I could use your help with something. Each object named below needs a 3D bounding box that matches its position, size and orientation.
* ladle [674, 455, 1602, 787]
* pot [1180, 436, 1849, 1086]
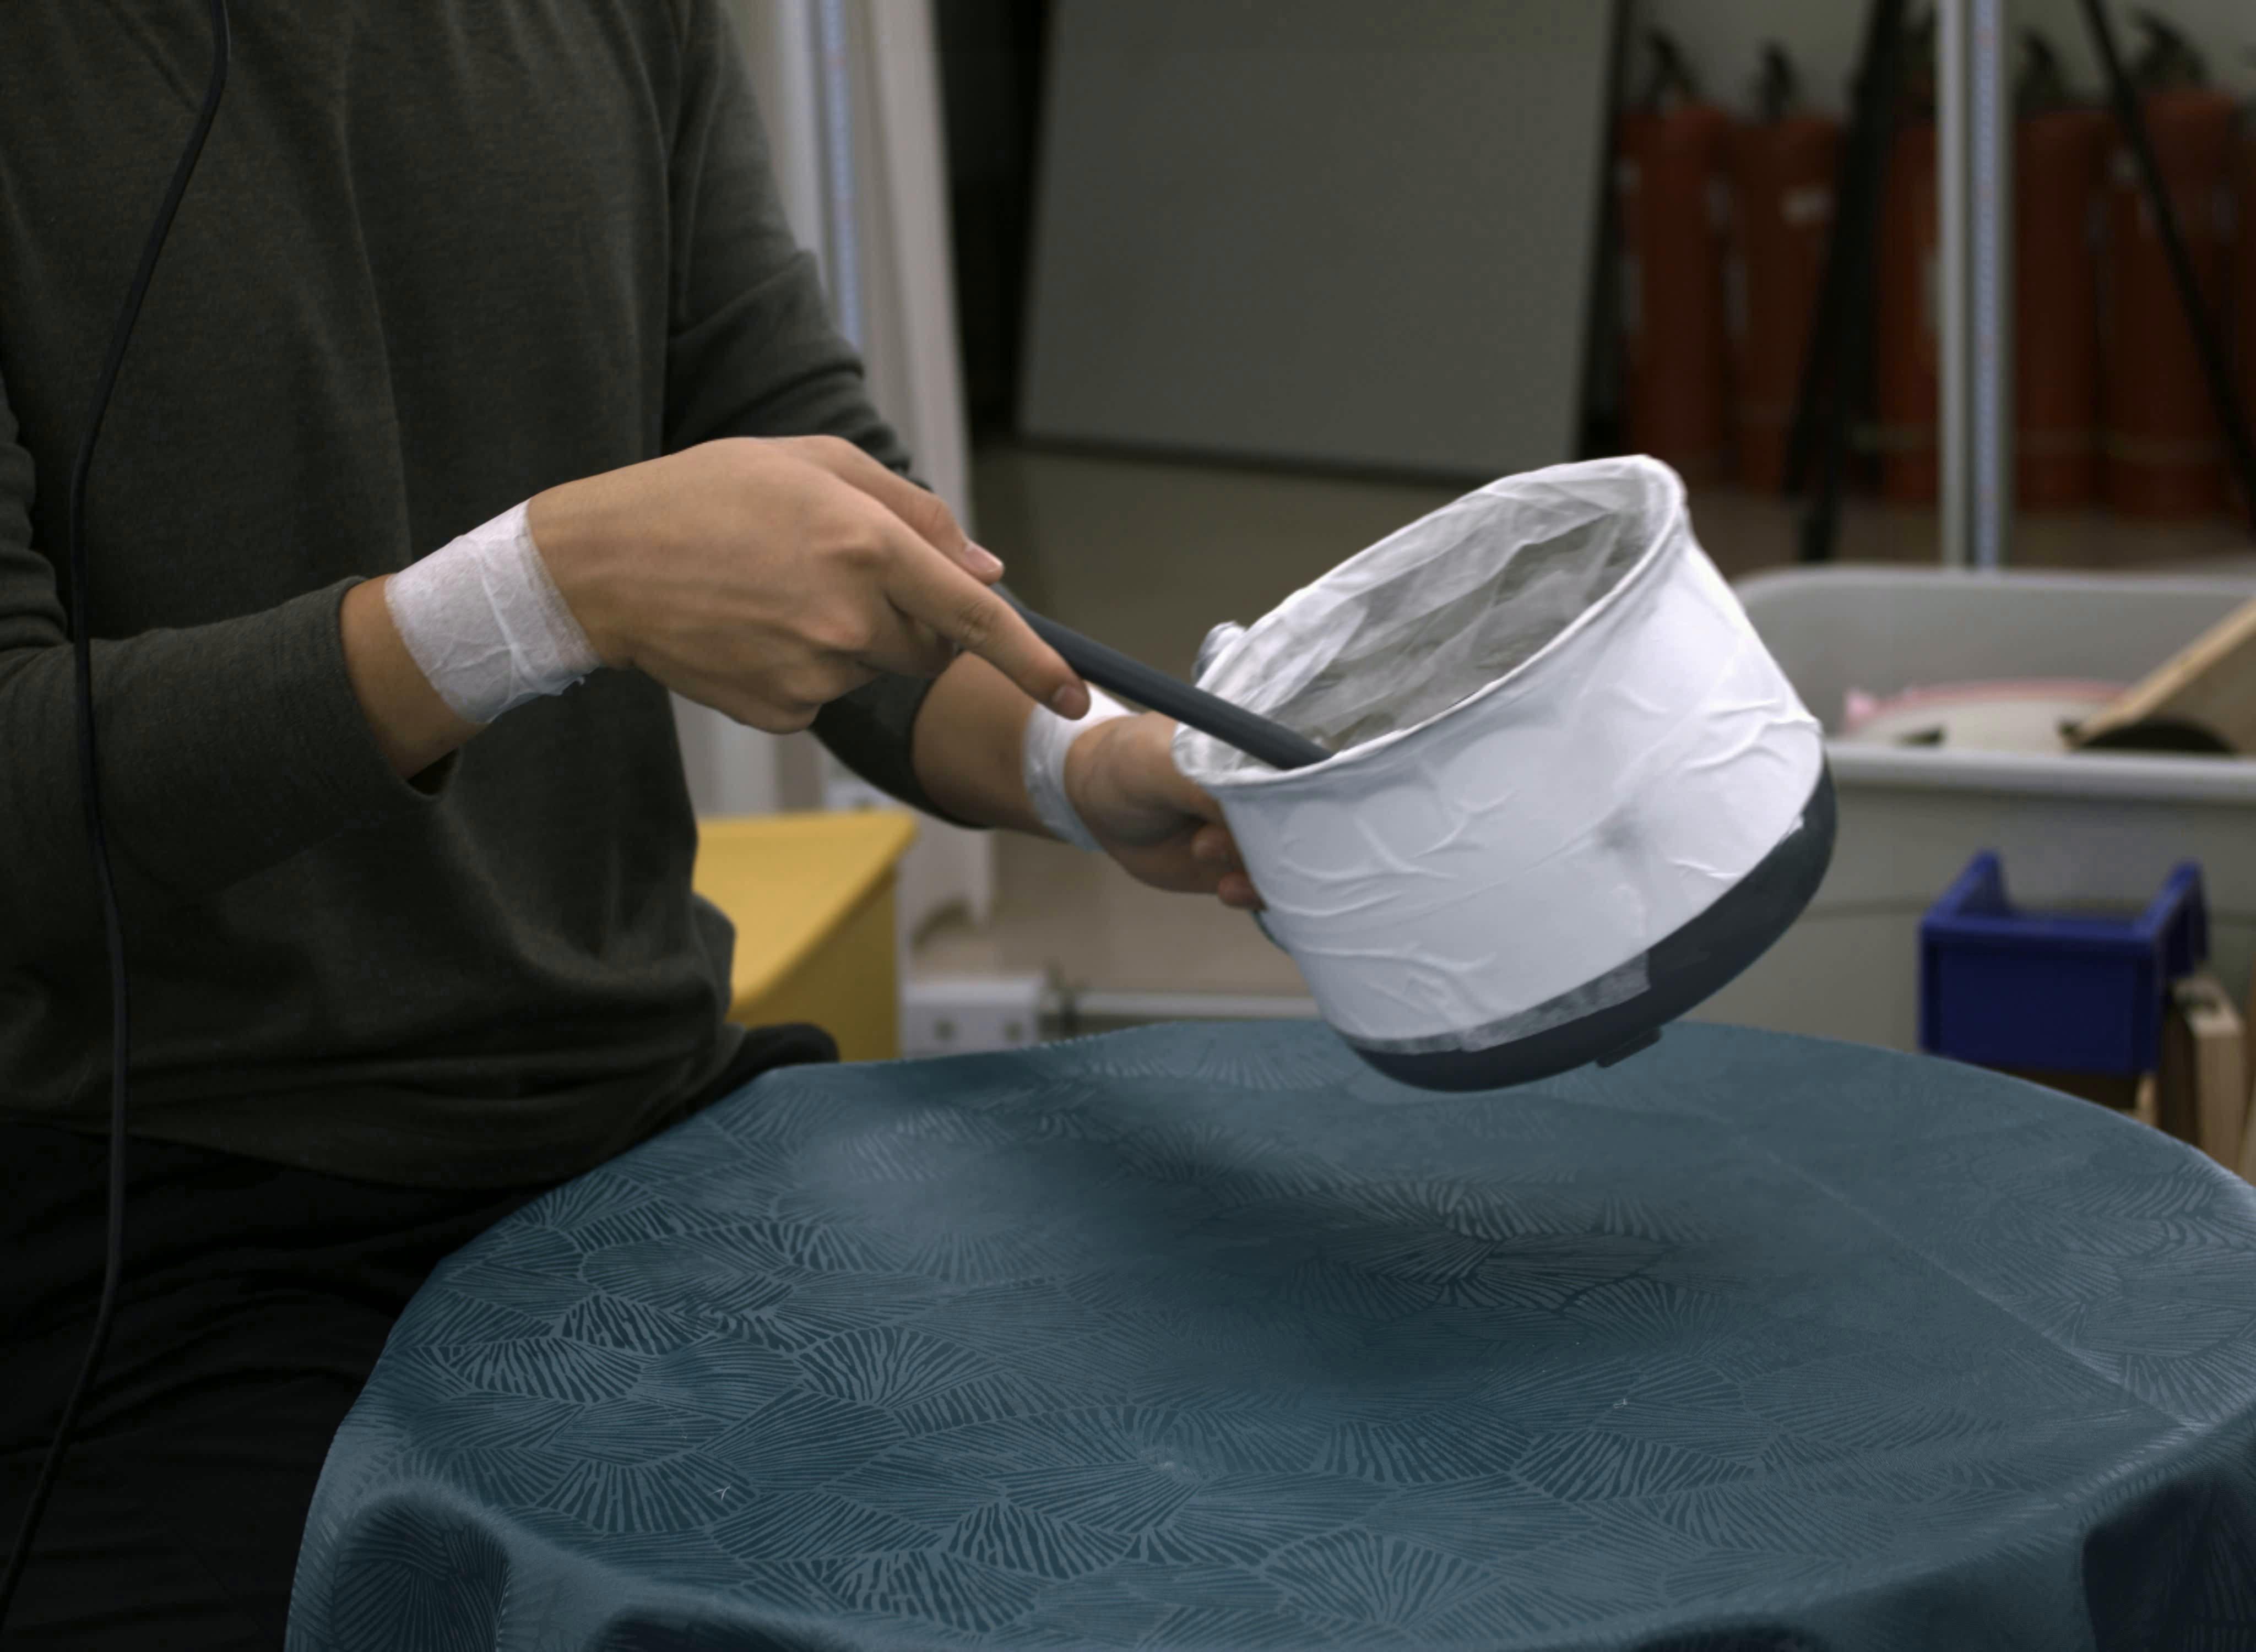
[{"bbox_3d":[0.004,-0.073,1.643,0.314,0.064,0.086,23,-18,21],"label":"ladle"},{"bbox_3d":[0.105,-0.014,1.667,0.177,0.137,0.236,-41,20,-33],"label":"pot"}]
